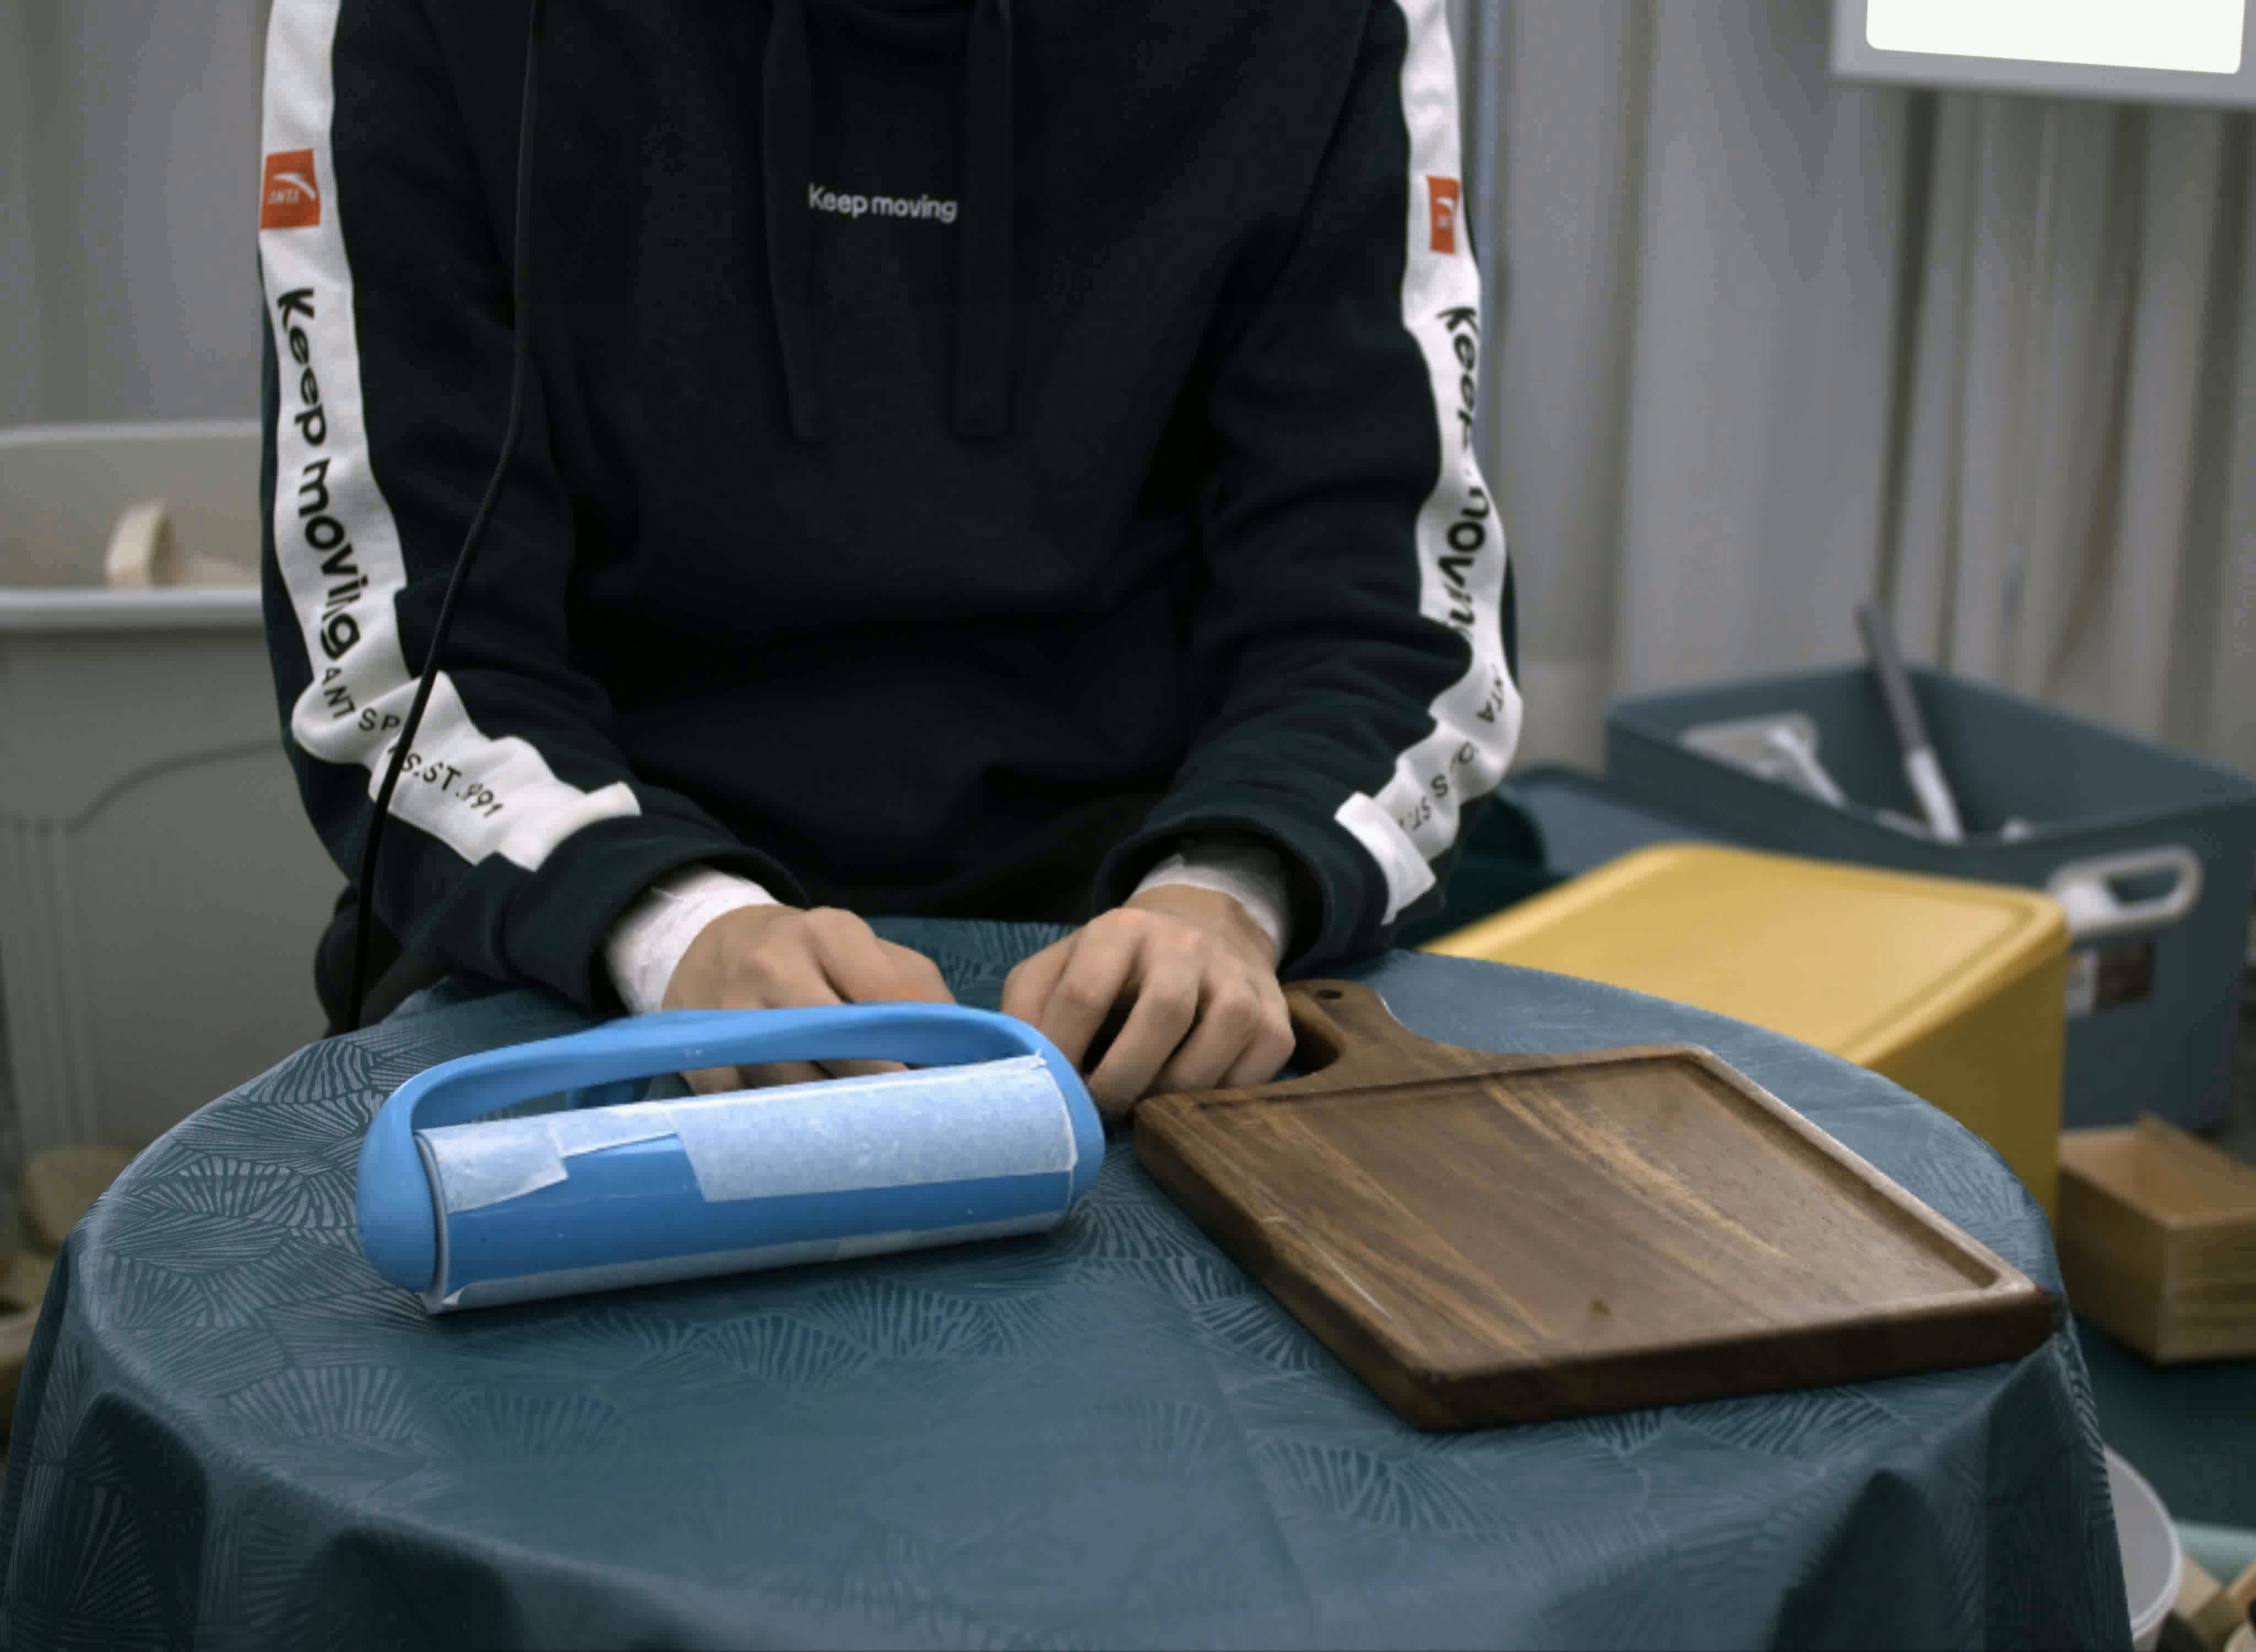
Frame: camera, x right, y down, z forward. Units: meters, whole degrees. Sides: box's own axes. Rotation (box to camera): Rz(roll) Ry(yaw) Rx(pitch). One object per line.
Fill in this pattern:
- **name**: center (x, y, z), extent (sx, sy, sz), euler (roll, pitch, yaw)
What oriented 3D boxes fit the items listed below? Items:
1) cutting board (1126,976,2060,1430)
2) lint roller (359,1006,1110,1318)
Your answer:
- **cutting board**: center (0.116, 0.104, 1.611), extent (0.201, 0.023, 0.348), euler (-4, 16, -19)
- **lint roller**: center (-0.137, 0.089, 1.594), extent (0.229, 0.068, 0.178), euler (-8, 18, -24)
